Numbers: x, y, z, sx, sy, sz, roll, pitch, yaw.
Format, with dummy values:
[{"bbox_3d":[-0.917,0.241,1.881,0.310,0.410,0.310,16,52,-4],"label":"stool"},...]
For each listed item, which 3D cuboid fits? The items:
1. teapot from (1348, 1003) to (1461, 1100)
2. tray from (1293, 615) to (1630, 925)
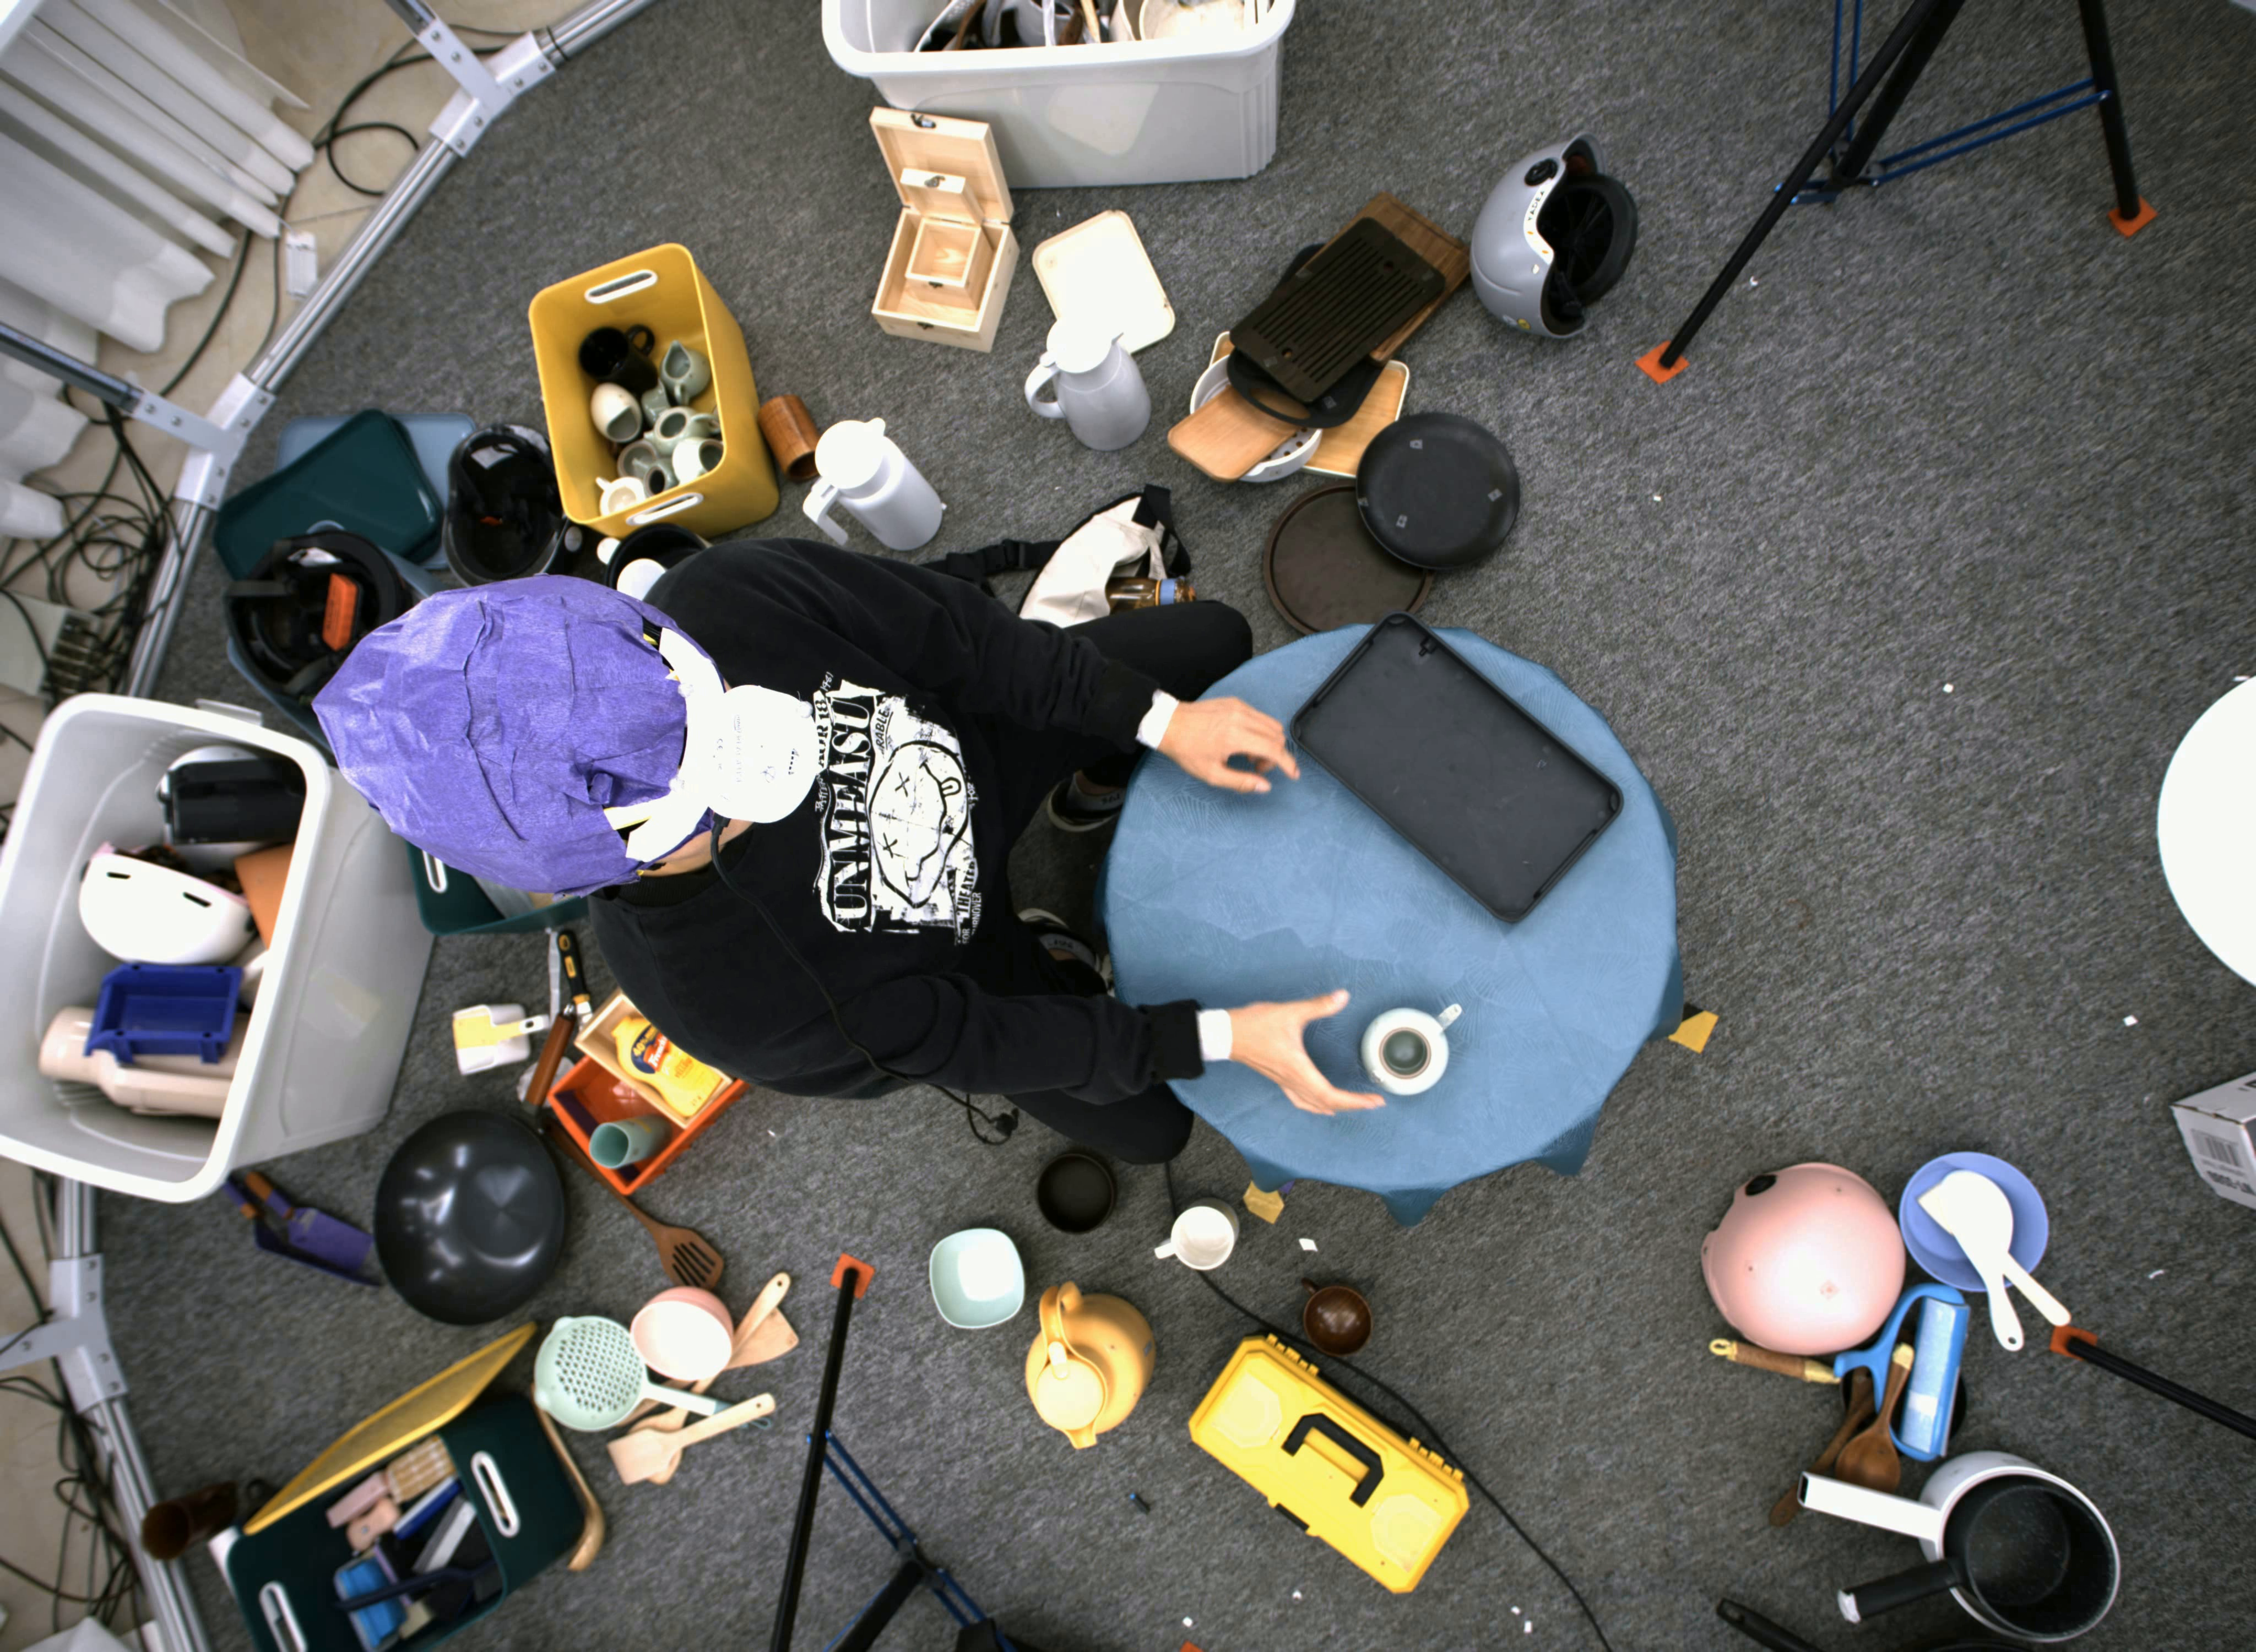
[{"bbox_3d":[0.282,0.227,1.414,0.144,0.075,0.088,-40,80,5],"label":"teapot"},{"bbox_3d":[0.345,-0.060,1.435,0.317,0.037,0.185,41,94,10],"label":"tray"}]
